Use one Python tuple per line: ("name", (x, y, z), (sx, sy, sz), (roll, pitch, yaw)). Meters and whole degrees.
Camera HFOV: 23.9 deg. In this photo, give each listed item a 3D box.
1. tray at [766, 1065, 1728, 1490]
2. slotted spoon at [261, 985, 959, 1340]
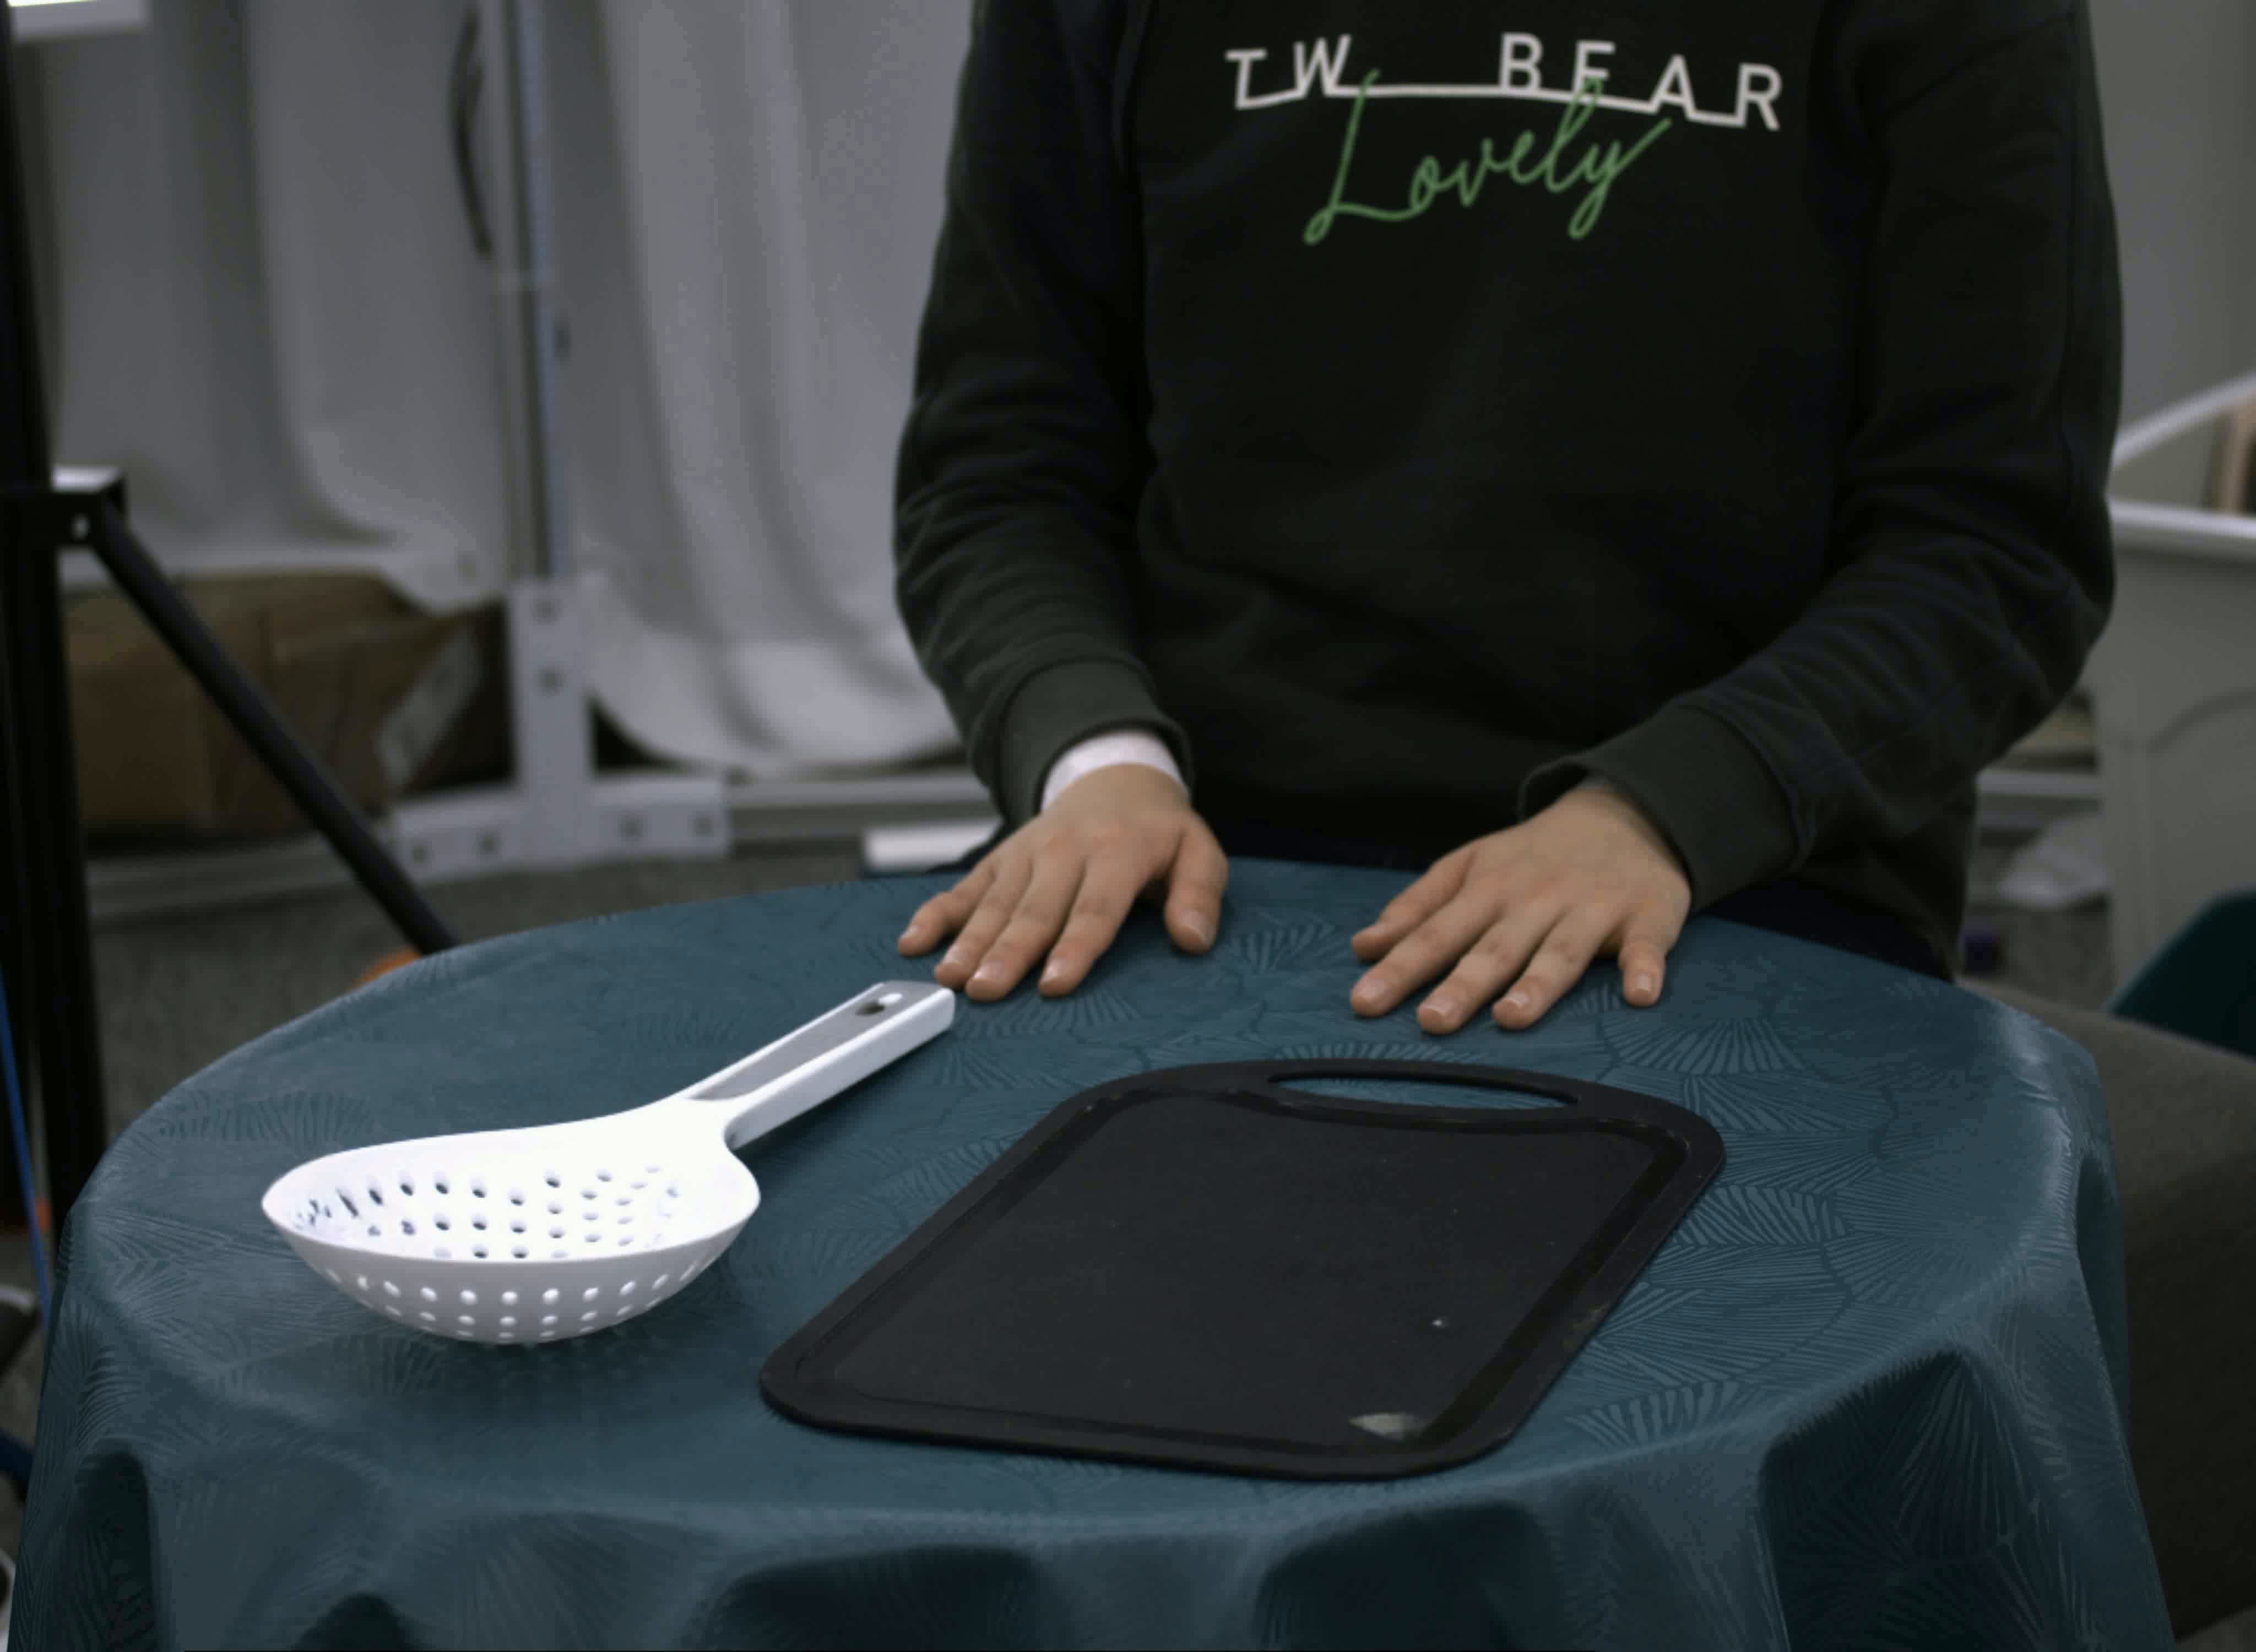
("tray", (0.043, 0.118, 1.502), (0.214, 0.010, 0.321), (4, 17, 21))
("slotted spoon", (-0.130, 0.089, 1.563), (0.138, 0.046, 0.345), (6, 17, 21))
